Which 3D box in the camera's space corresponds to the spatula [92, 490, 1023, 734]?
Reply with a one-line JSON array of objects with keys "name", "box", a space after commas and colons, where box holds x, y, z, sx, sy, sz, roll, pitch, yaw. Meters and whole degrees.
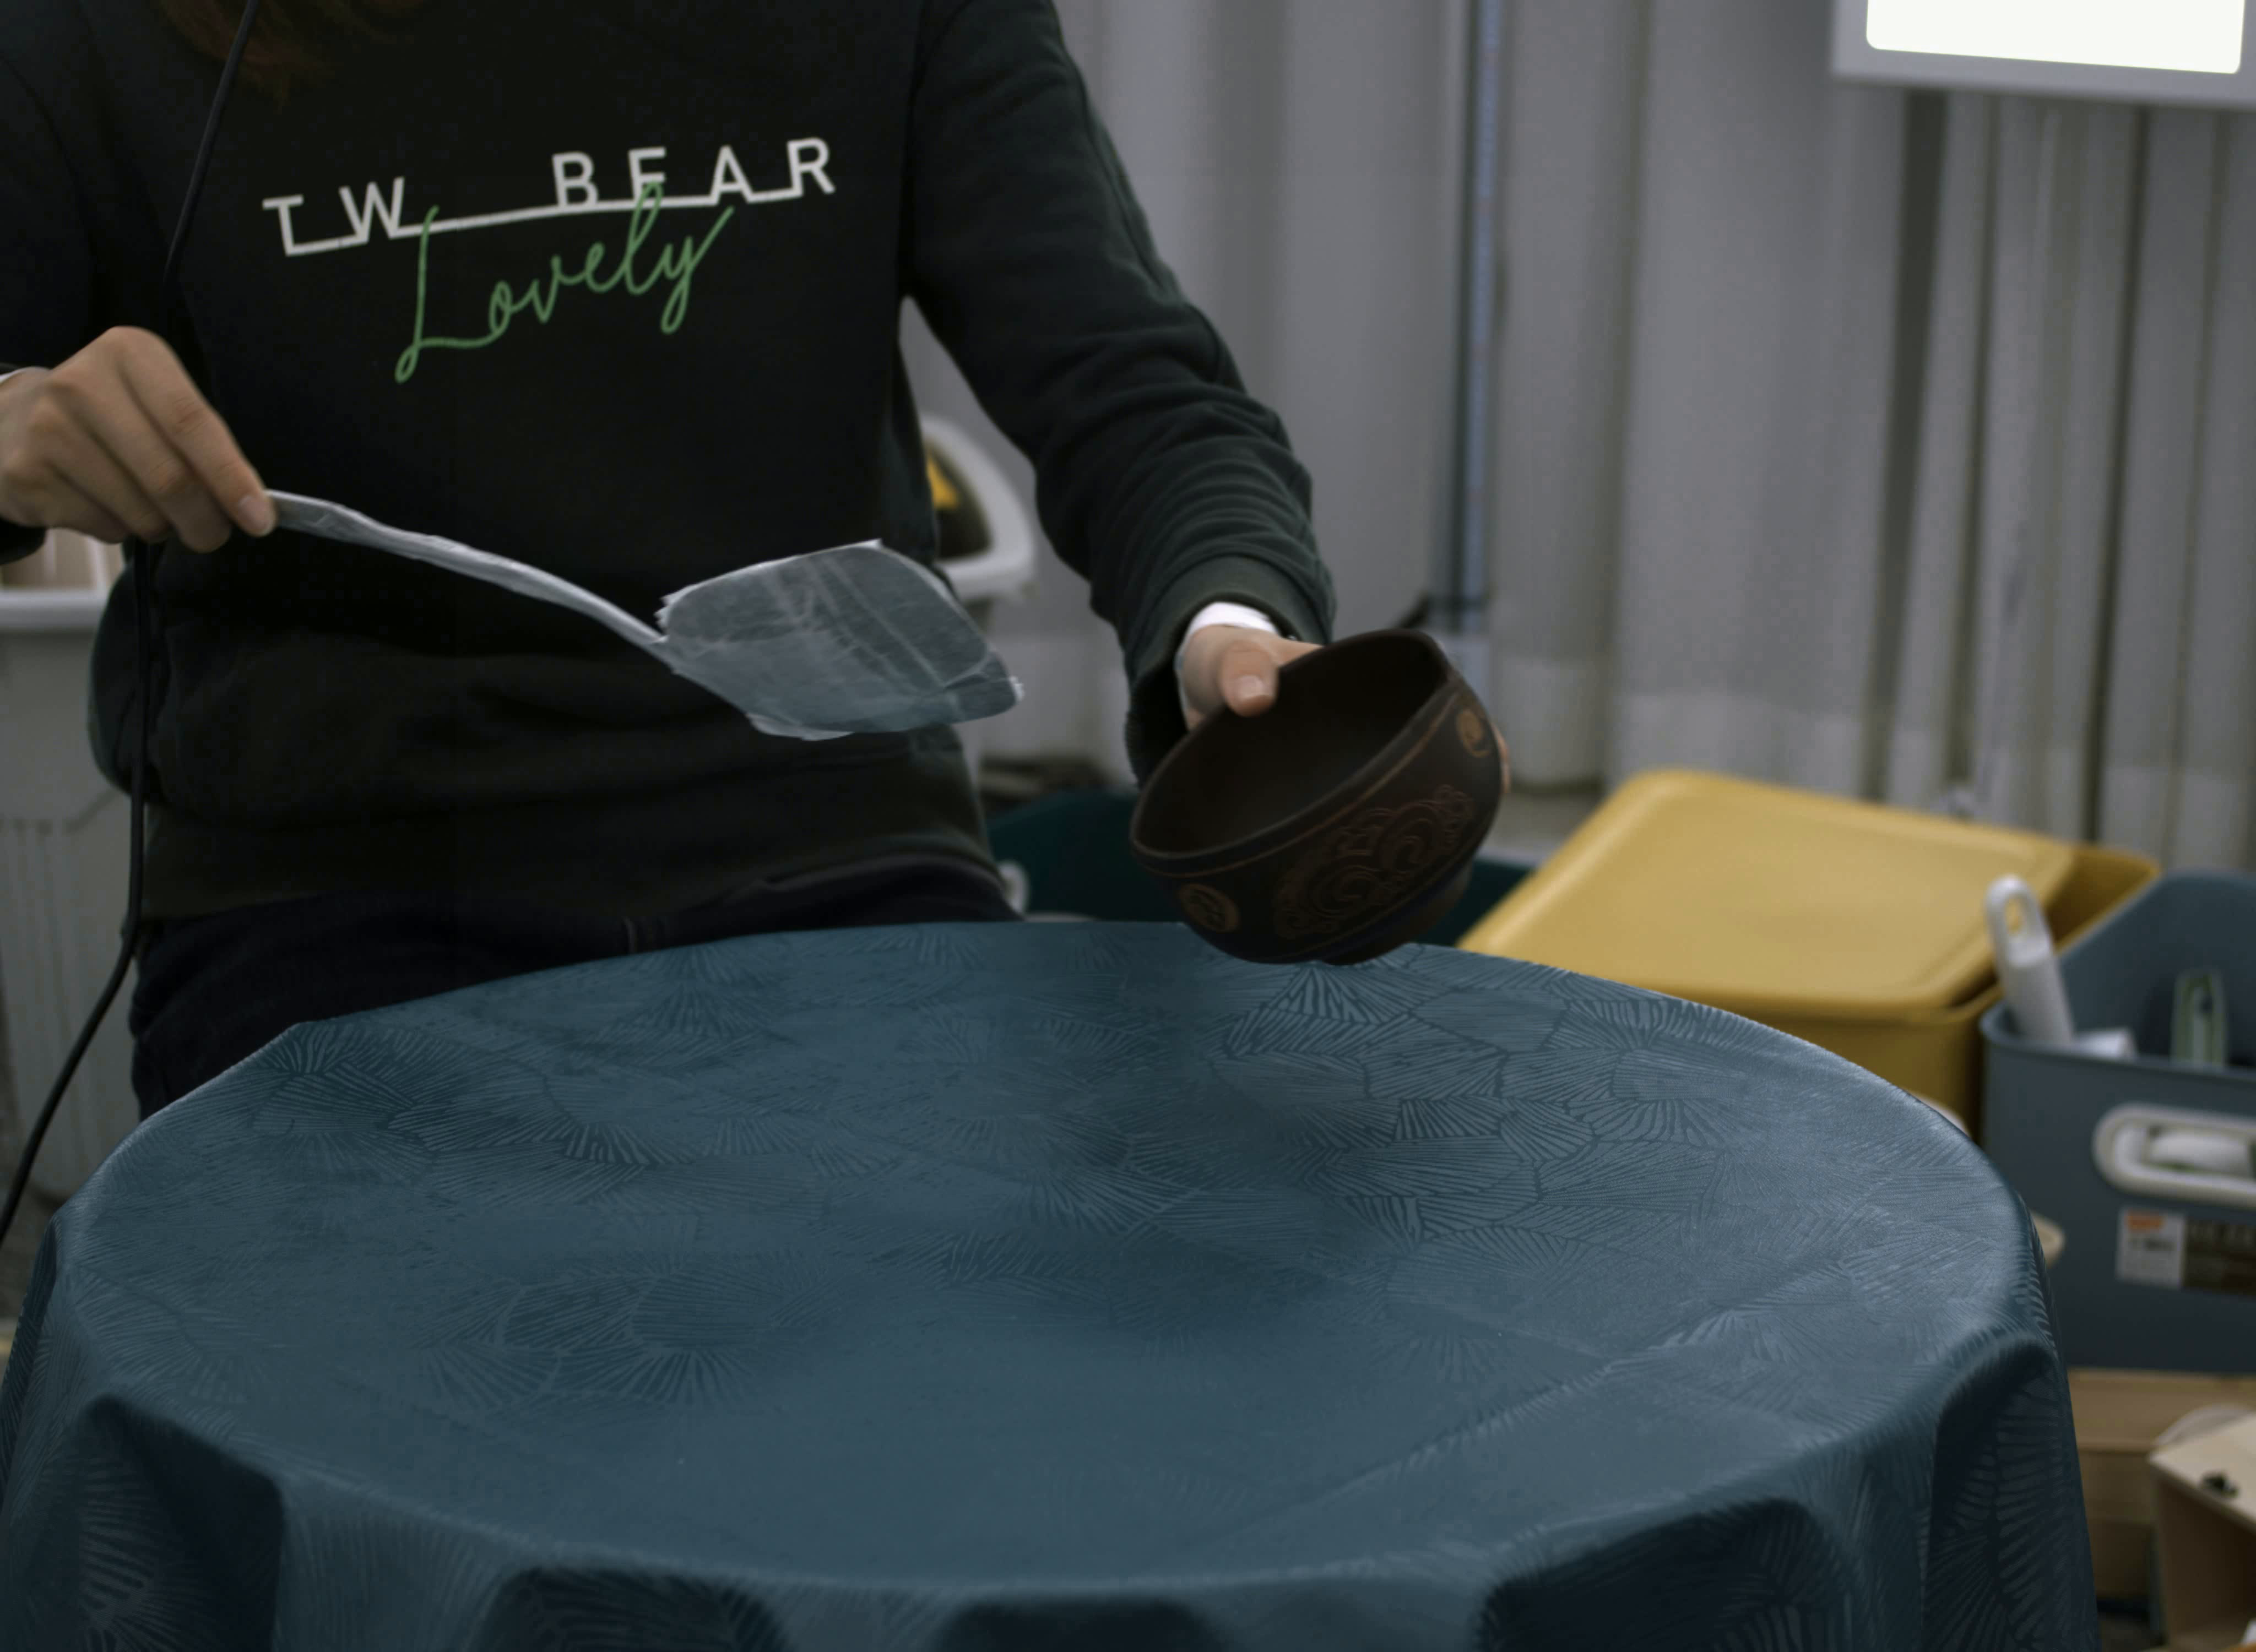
[{"name": "spatula", "box": [-0.194, -0.080, 1.640, 0.360, 0.045, 0.100, 16, -19, 34]}]

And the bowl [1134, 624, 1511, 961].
[{"name": "bowl", "box": [0.068, -0.002, 1.652, 0.117, 0.070, 0.117, -27, 23, 13]}]
